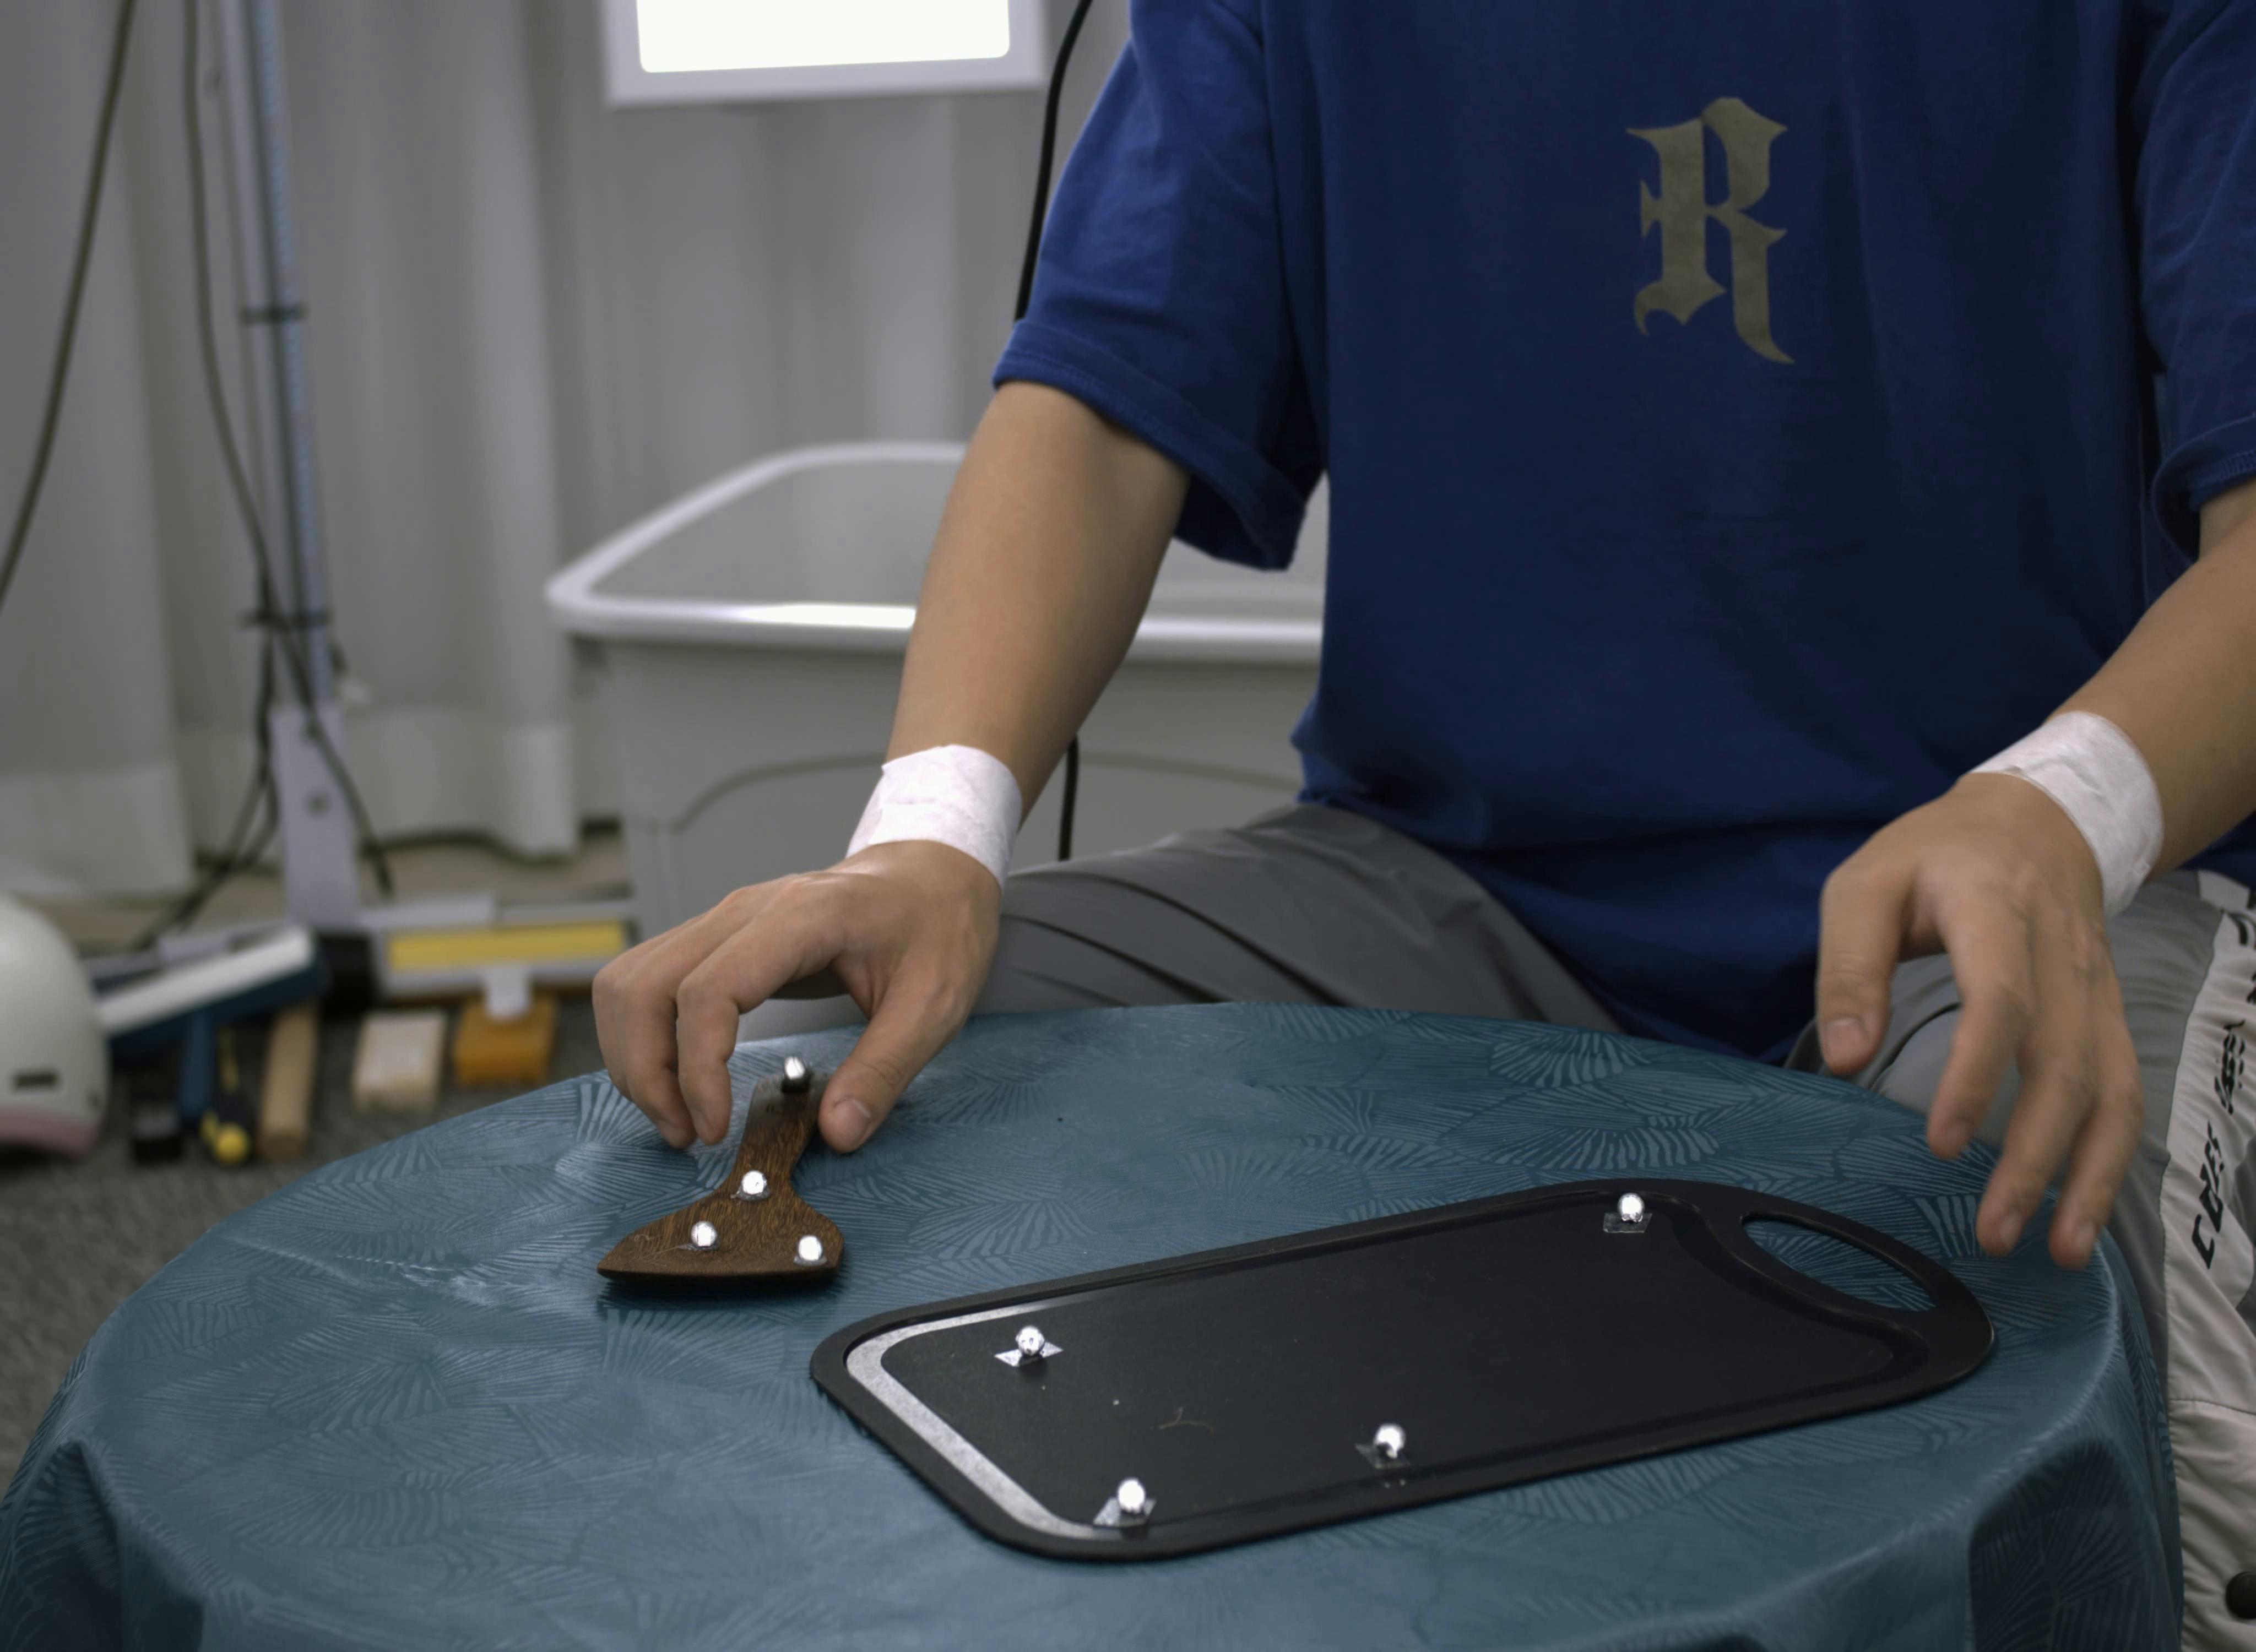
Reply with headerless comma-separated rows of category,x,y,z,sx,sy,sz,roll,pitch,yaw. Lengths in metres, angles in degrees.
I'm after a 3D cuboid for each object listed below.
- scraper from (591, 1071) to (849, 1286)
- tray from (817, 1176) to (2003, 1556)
scraper,-0.116,0.111,1.727,0.075,0.011,0.212,-1,15,5
tray,0.085,0.147,1.559,0.324,0.010,0.213,-9,16,-21
